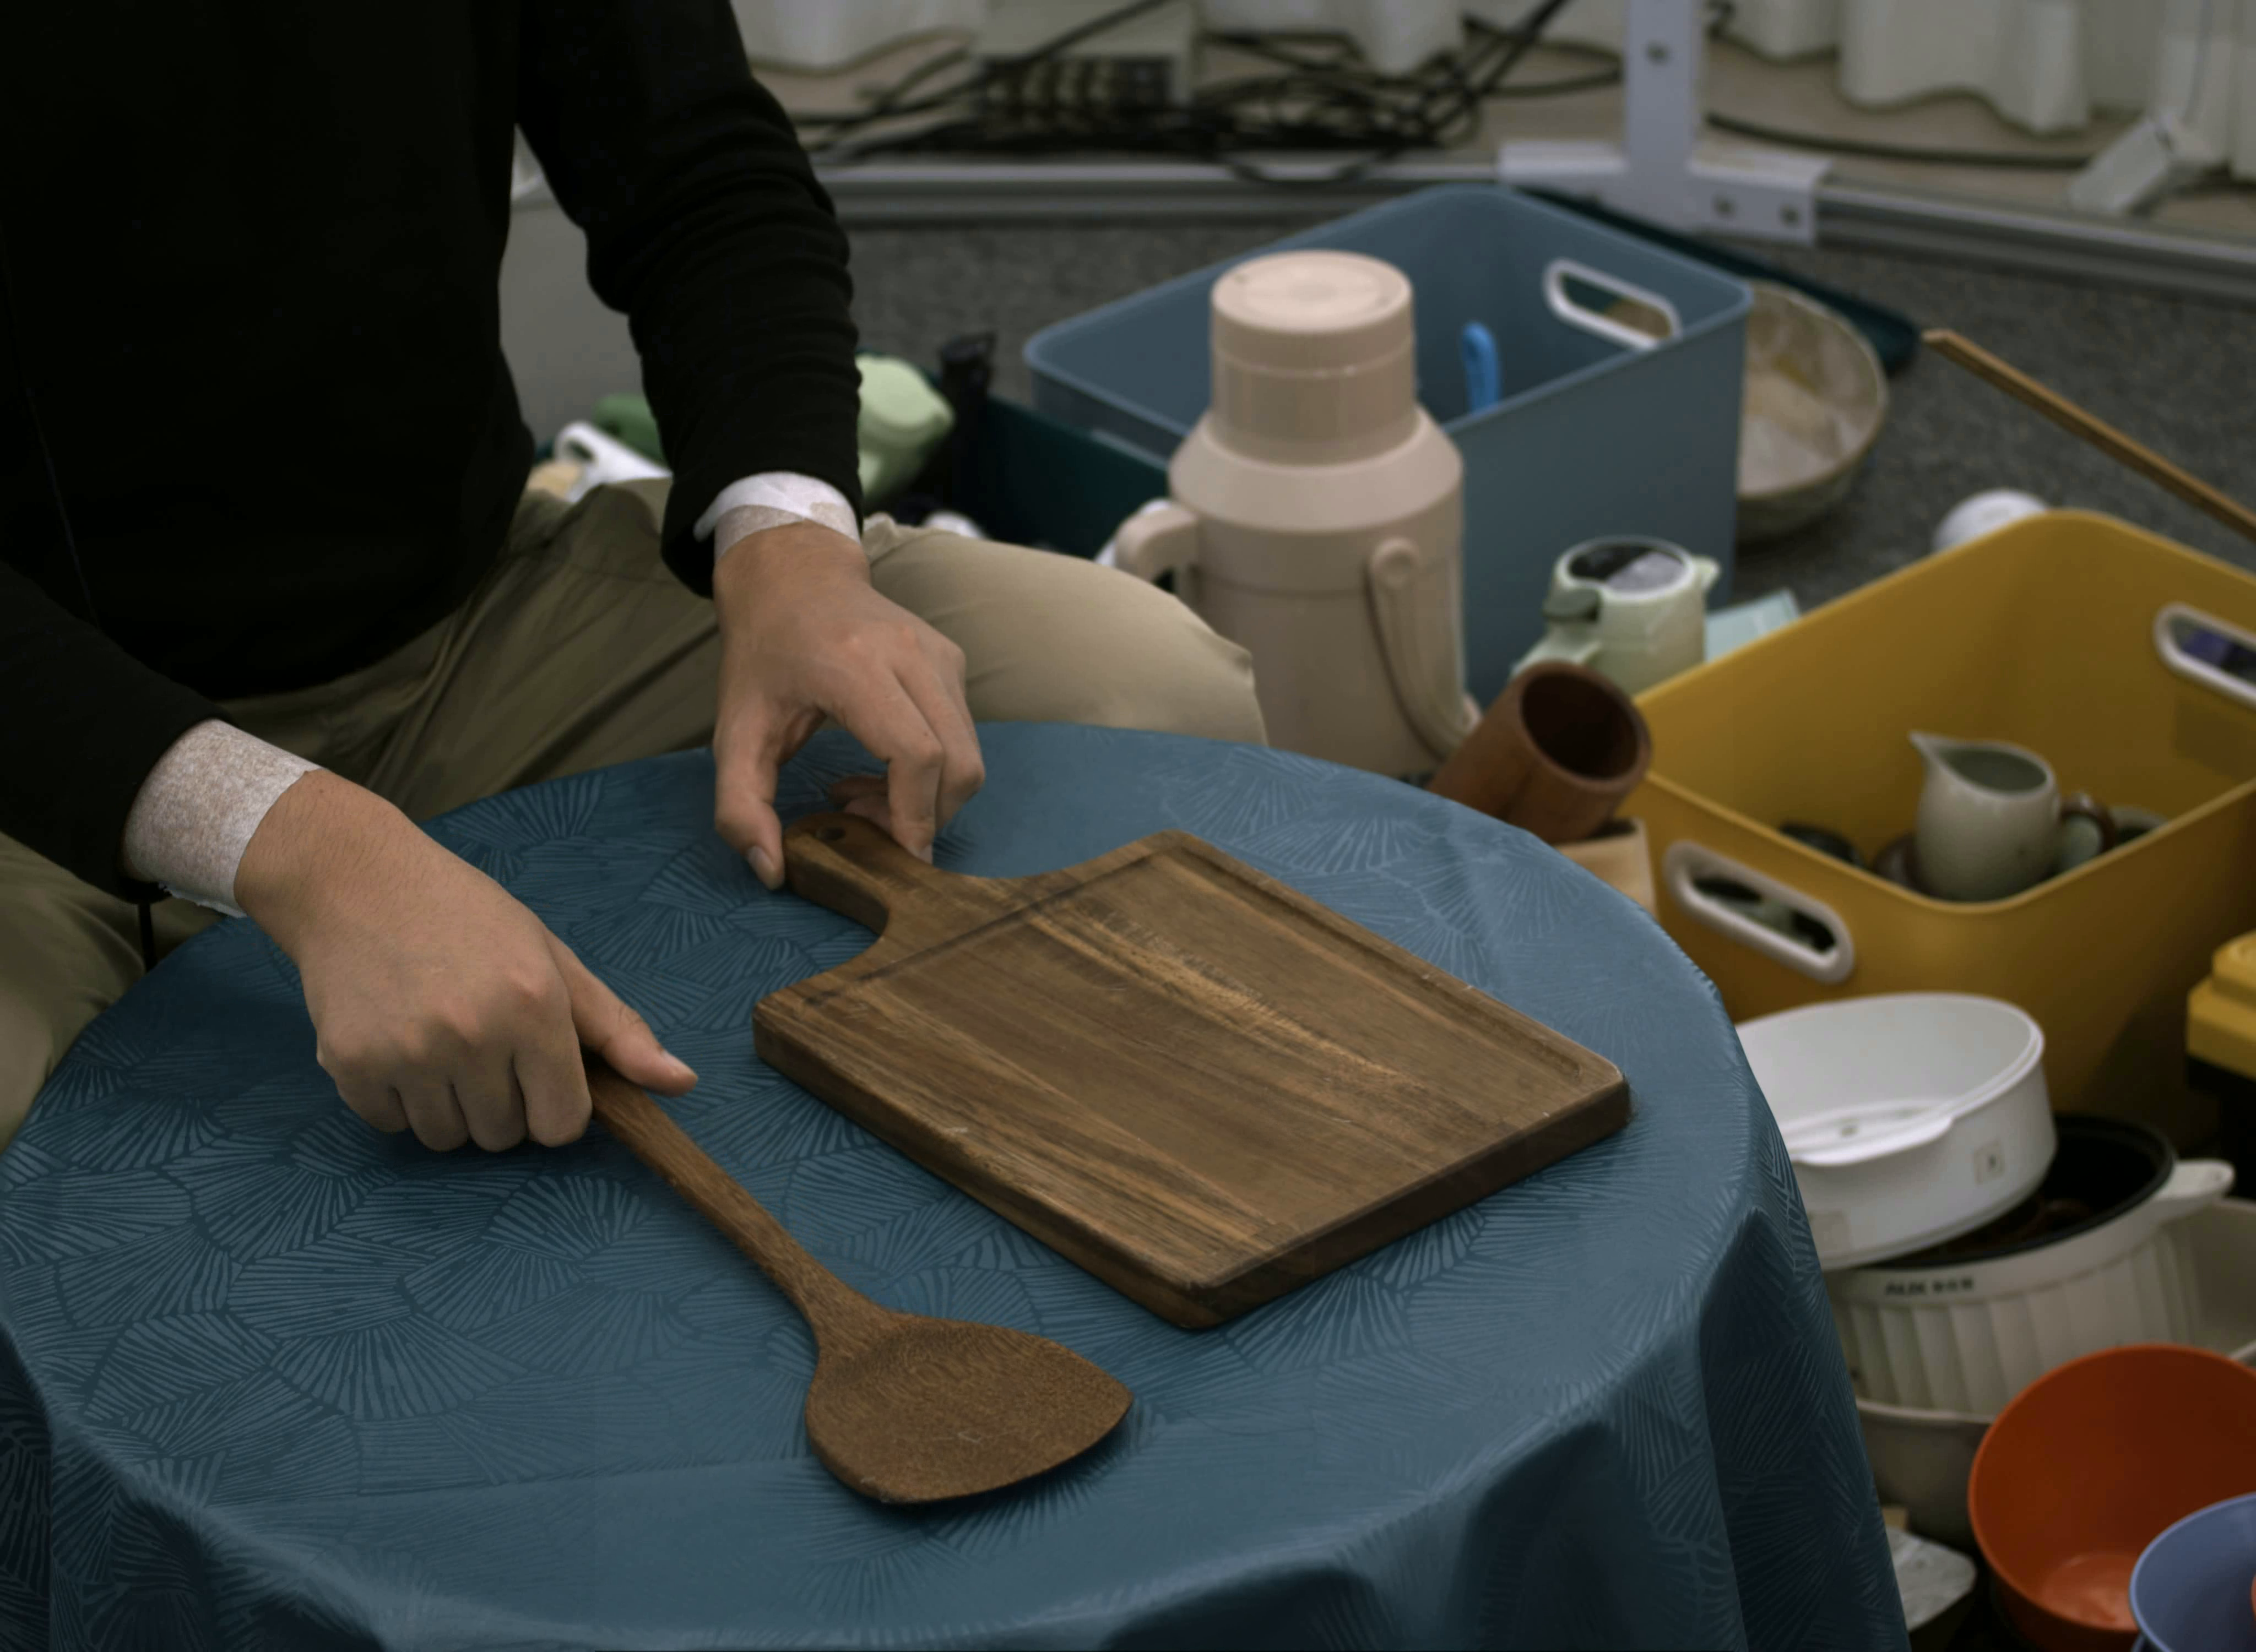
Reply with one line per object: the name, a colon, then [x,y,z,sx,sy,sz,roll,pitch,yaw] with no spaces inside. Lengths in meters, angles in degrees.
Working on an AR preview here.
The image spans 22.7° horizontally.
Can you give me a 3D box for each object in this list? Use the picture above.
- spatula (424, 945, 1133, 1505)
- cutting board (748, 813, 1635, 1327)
spatula: [-0.135,0.121,1.844,0.097,0.015,0.387,-18,34,-29]
cutting board: [-0.011,0.064,1.951,0.203,0.023,0.352,-22,33,-33]
